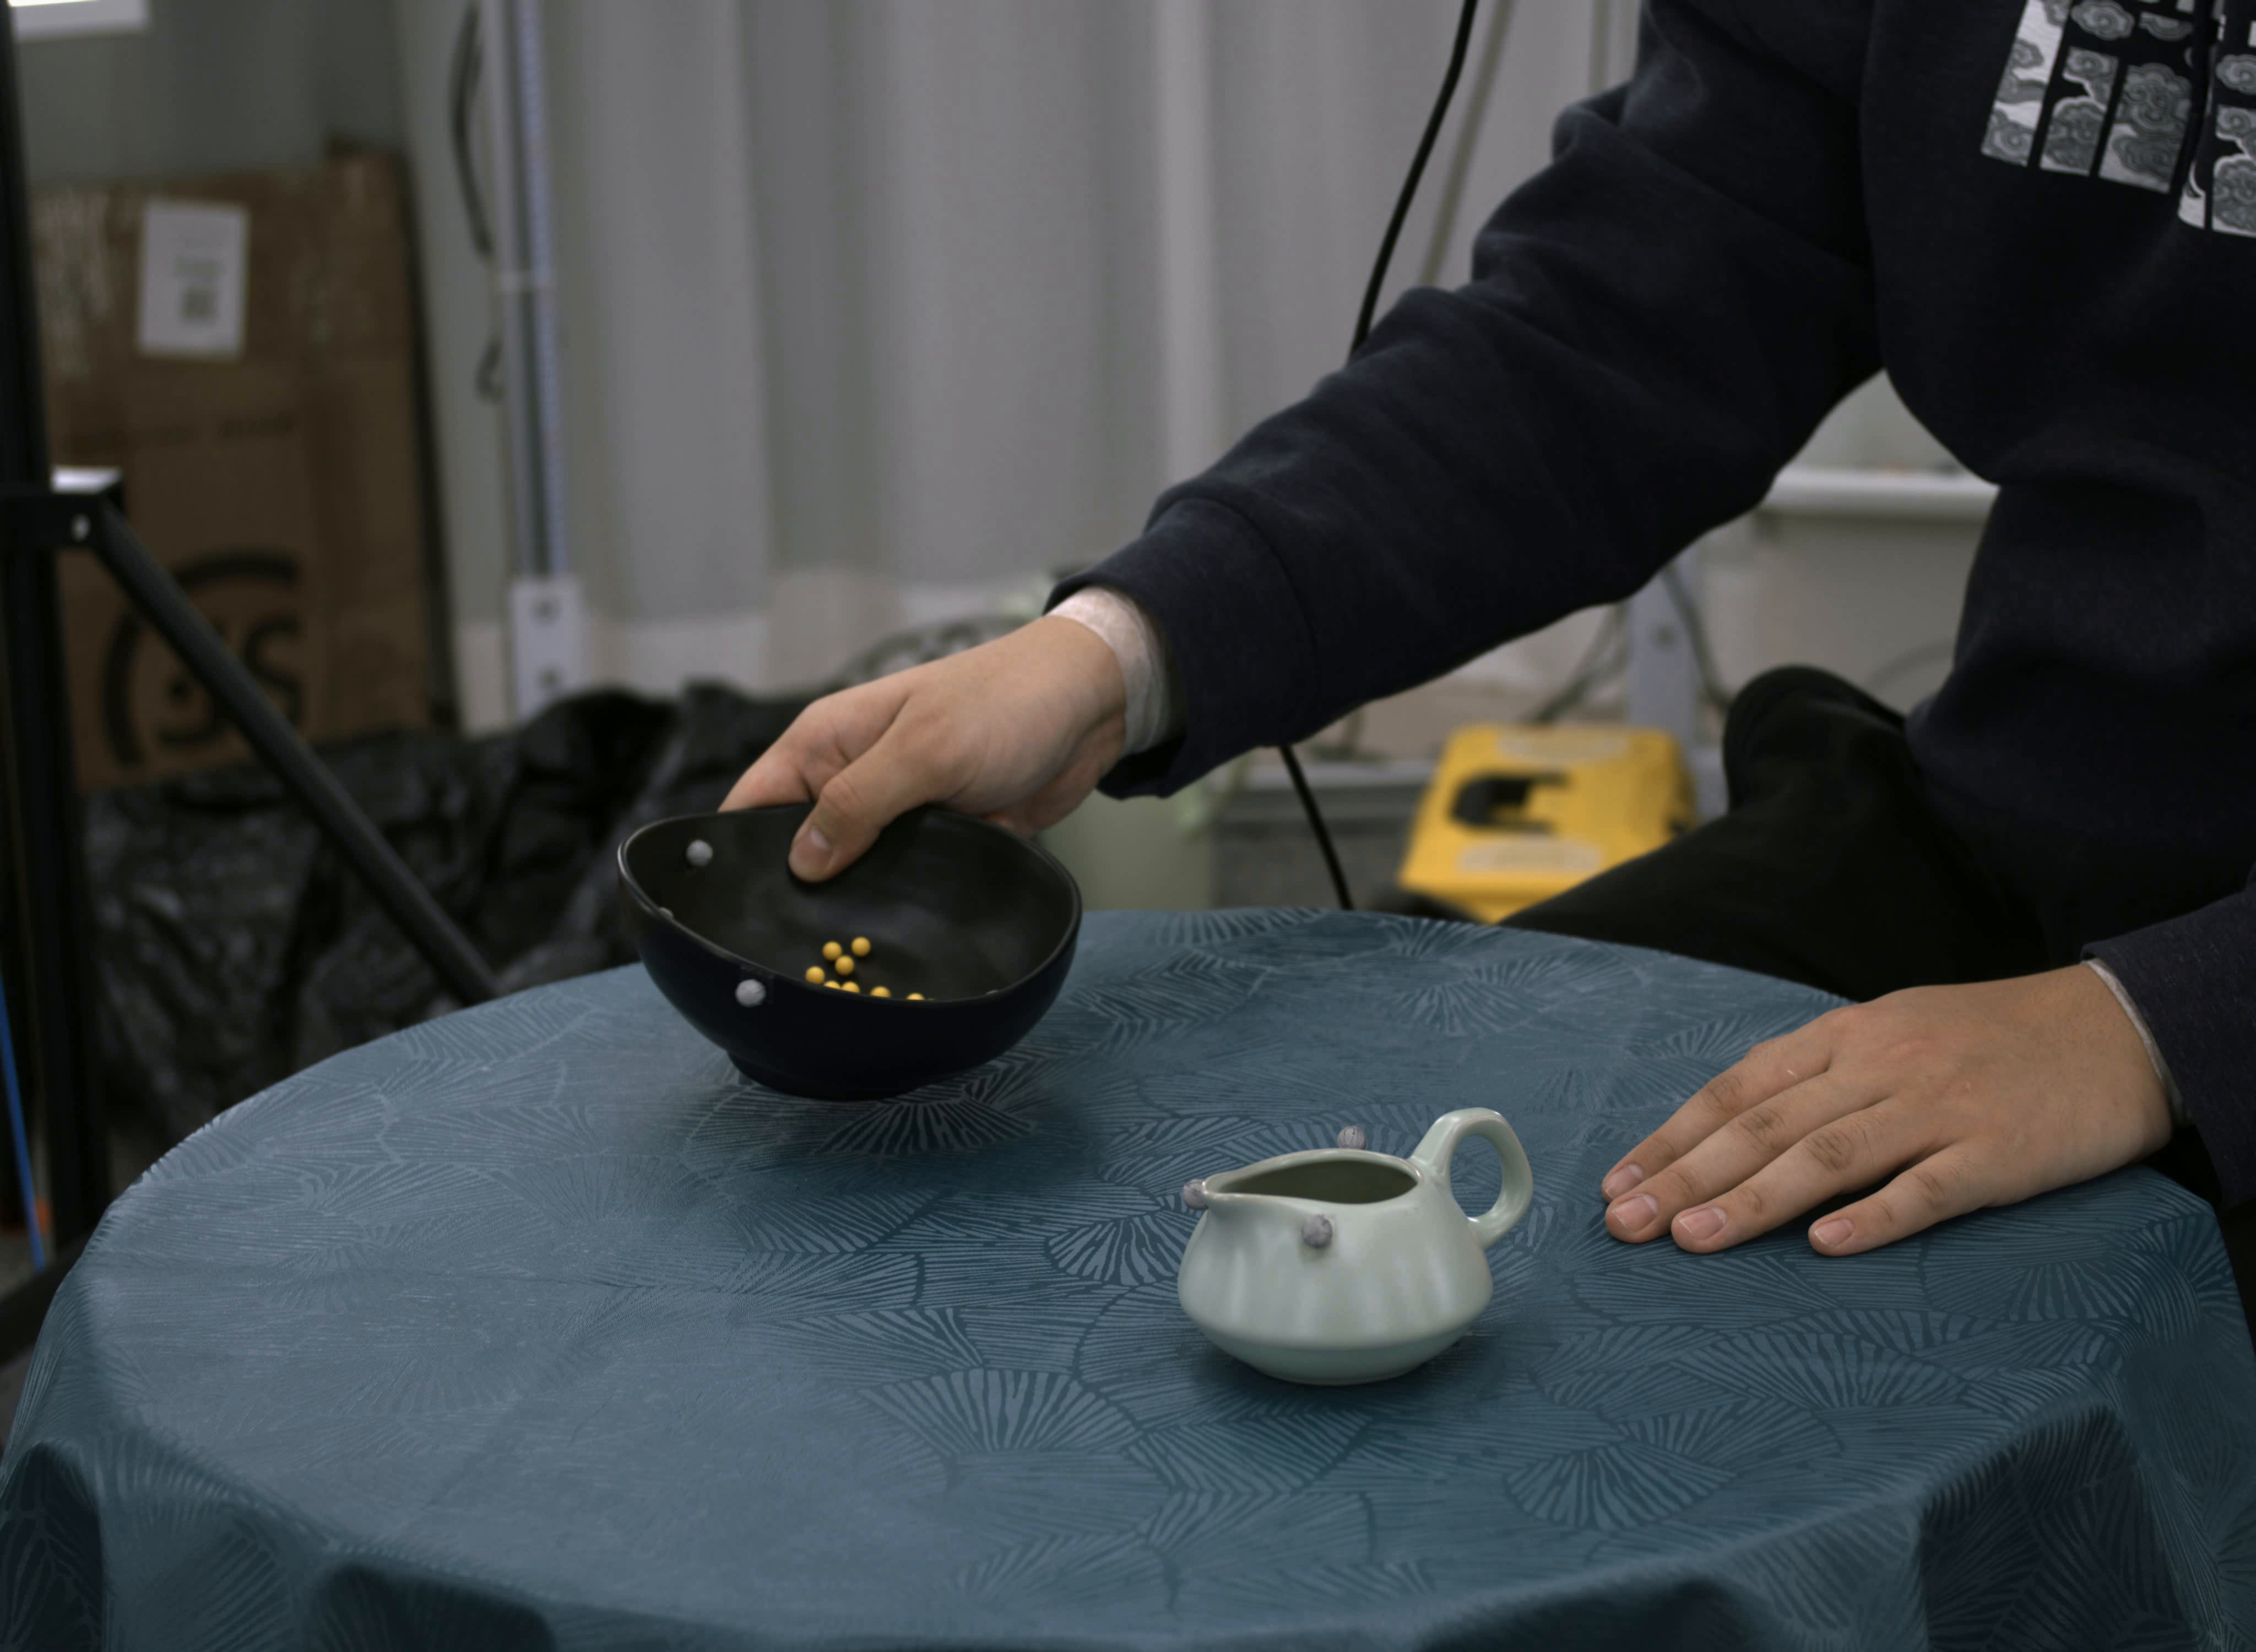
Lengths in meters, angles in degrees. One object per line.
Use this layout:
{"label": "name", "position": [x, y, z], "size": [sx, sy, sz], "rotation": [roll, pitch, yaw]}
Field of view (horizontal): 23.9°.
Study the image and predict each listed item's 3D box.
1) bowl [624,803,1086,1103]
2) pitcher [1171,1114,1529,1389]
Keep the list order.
{"label": "bowl", "position": [-0.088, 0.043, 1.638], "size": [0.134, 0.066, 0.174], "rotation": [-6, 24, -25]}
{"label": "pitcher", "position": [0.064, 0.114, 1.426], "size": [0.105, 0.060, 0.088], "rotation": [-10, 18, -34]}
